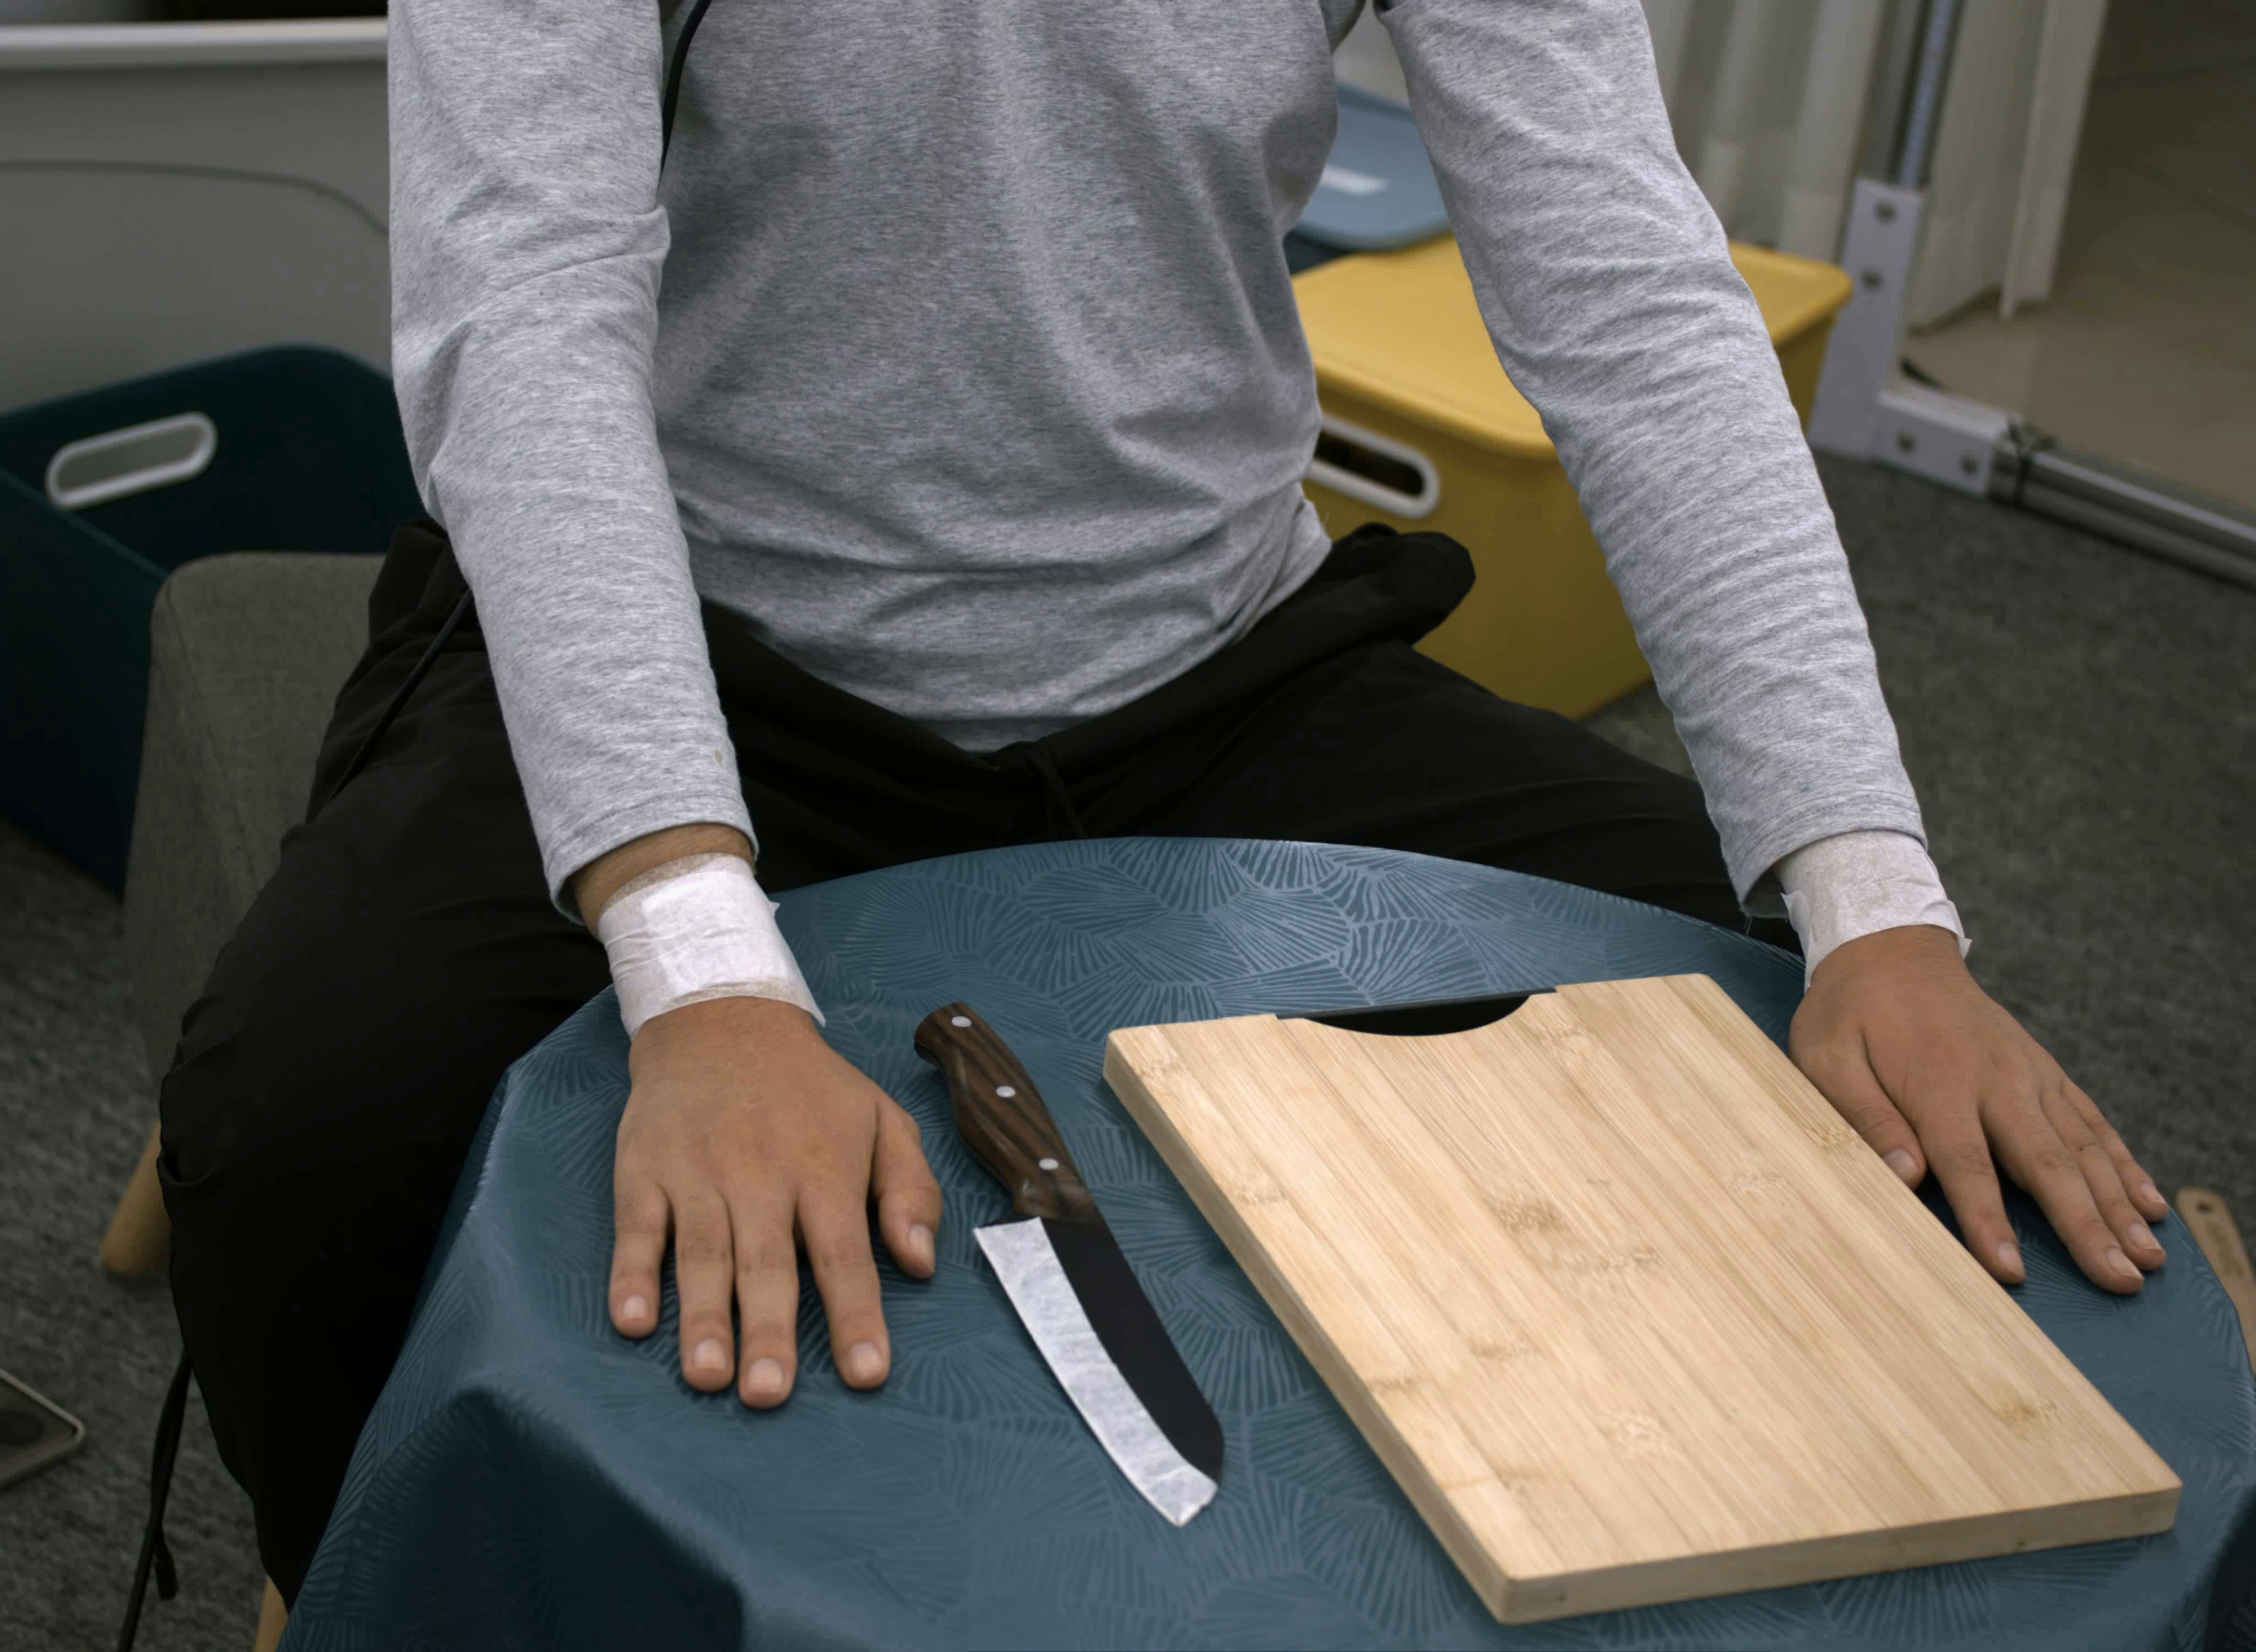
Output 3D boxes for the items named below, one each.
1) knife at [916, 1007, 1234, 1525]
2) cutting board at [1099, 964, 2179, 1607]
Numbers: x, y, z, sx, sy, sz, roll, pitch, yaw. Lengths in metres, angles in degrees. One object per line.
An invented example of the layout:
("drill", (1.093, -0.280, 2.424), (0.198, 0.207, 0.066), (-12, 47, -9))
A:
("knife", (-0.022, 0.142, 1.748), (0.050, 0.020, 0.292), (-7, 32, -15))
("cutting board", (0.161, 0.146, 1.781), (0.249, 0.023, 0.352), (-5, 29, -22))
